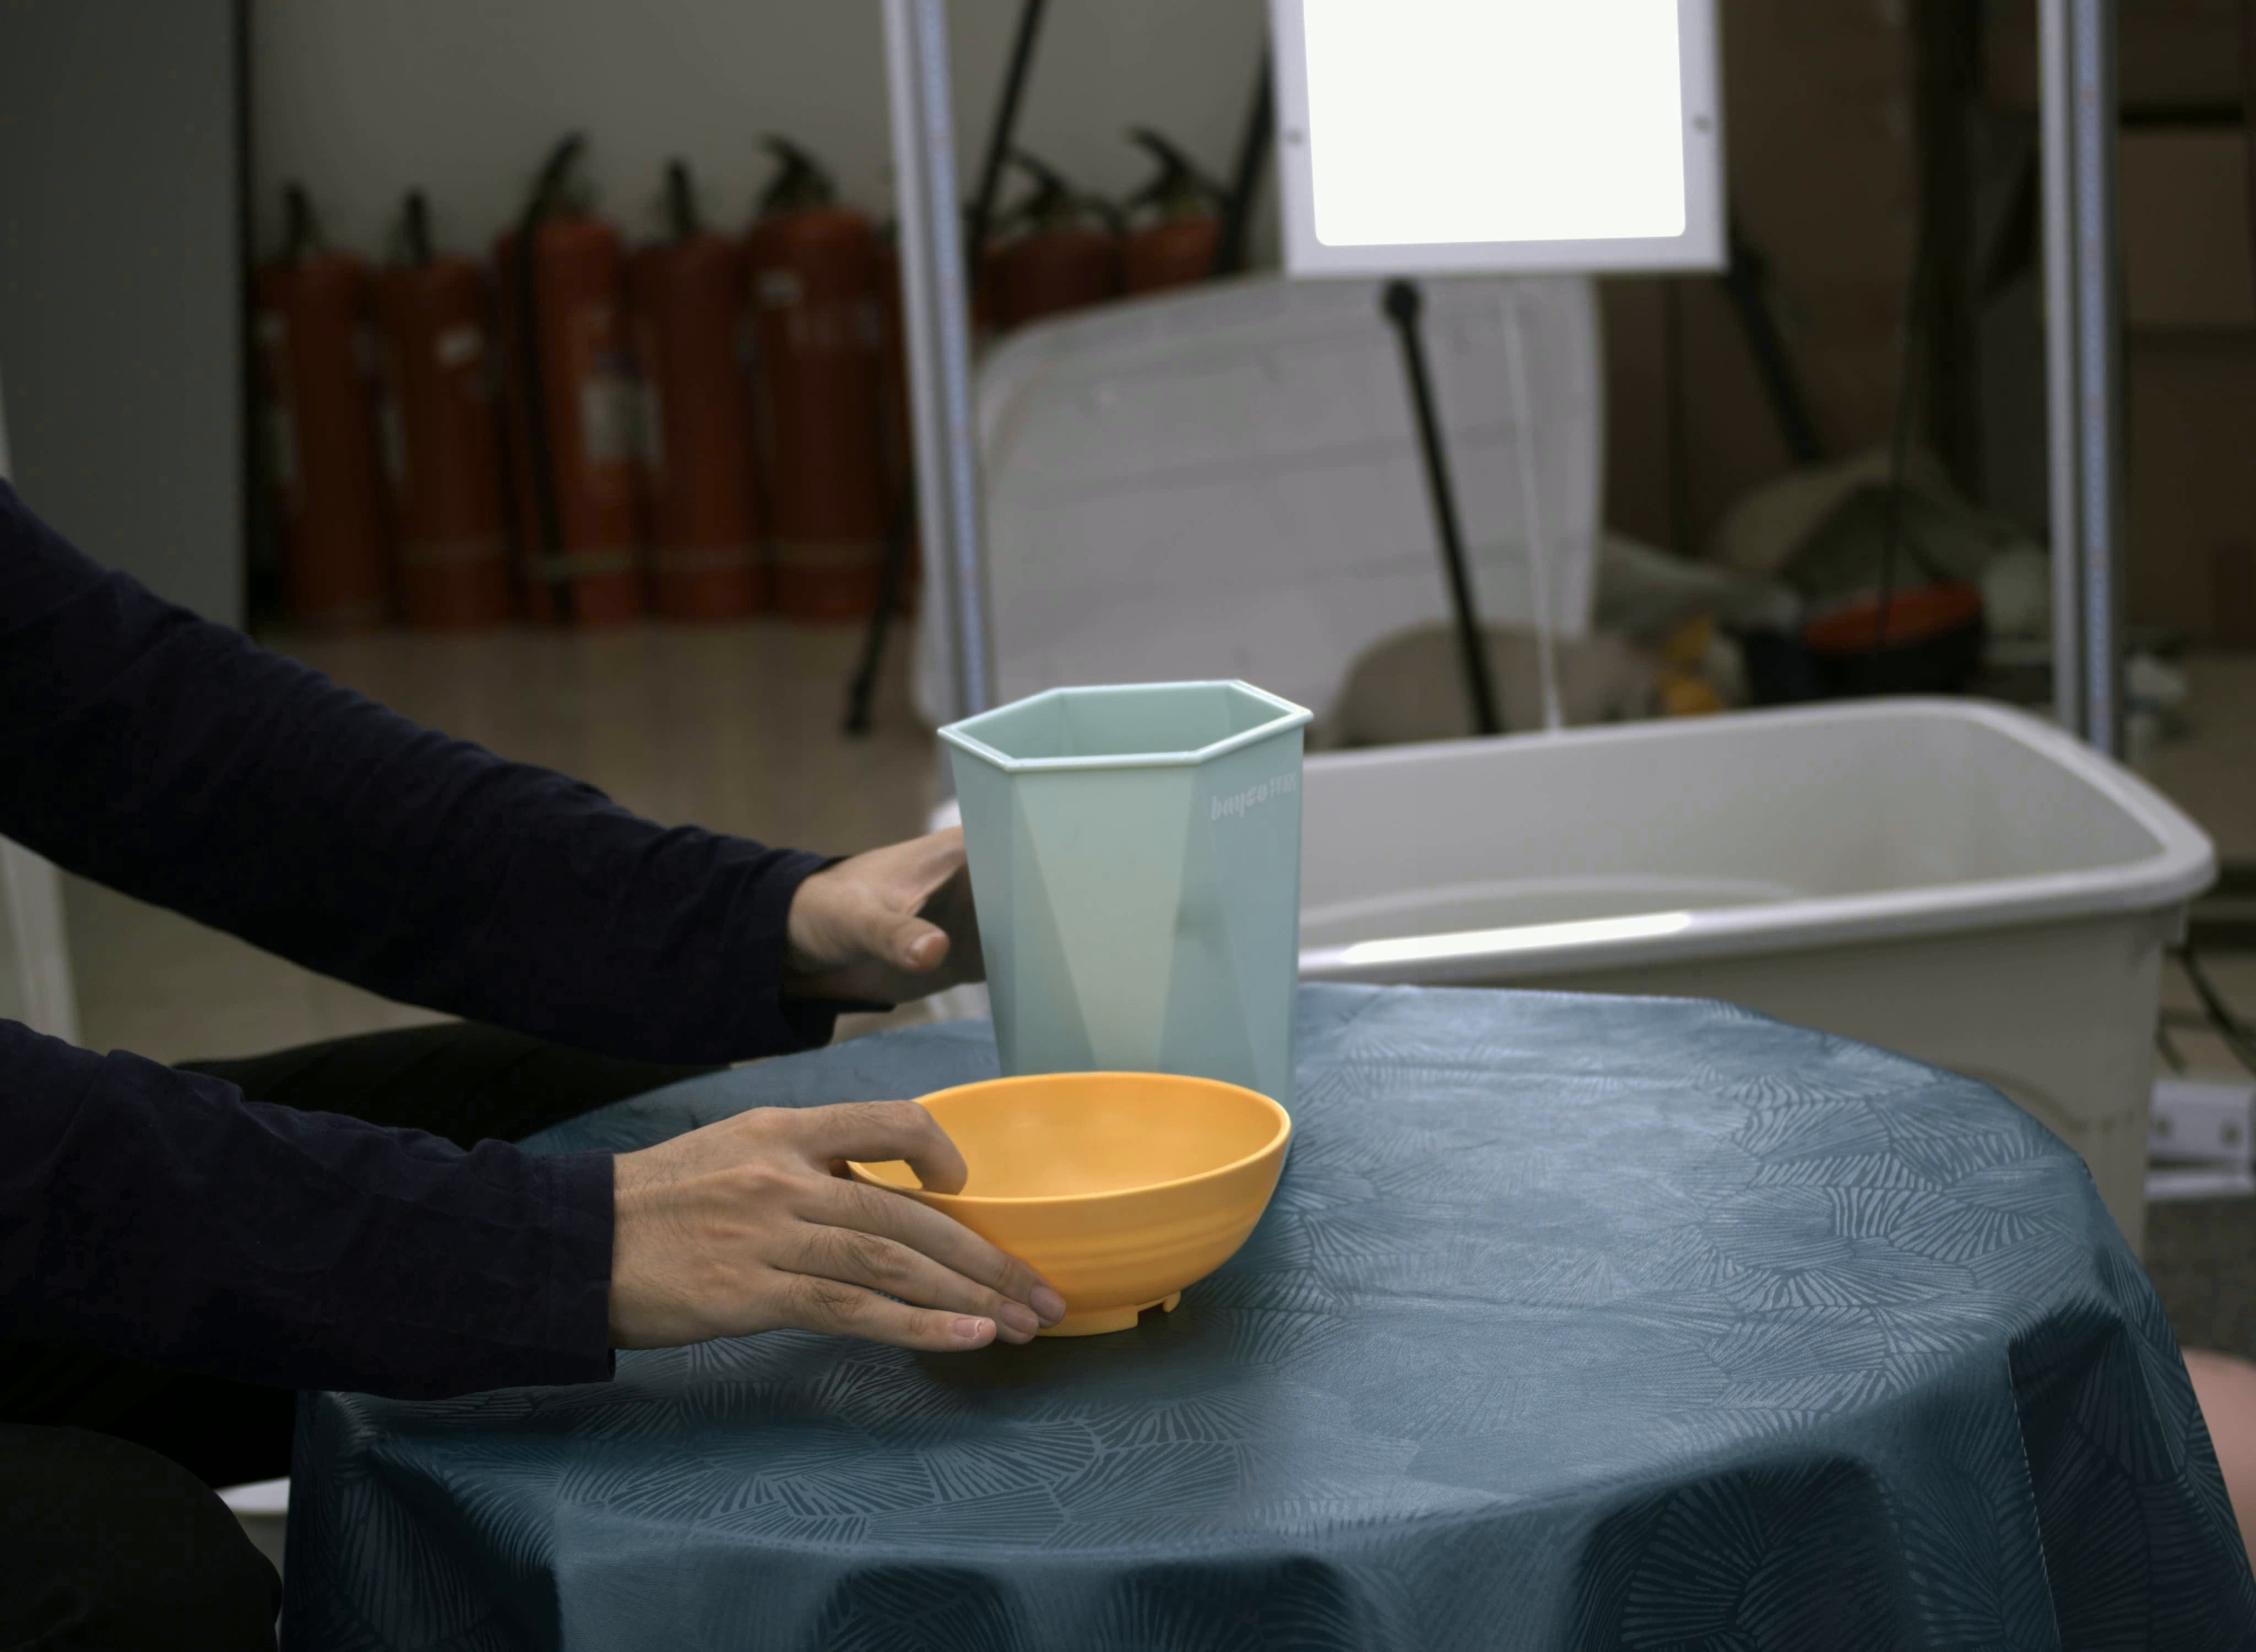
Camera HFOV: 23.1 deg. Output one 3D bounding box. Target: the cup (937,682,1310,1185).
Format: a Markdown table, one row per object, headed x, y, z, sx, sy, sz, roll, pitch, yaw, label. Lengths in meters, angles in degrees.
| x | y | z | sx | sy | sz | roll | pitch | yaw | label |
| --- | --- | --- | --- | --- | --- | --- | --- | --- | --- |
| 0.006 | 0.040 | 1.907 | 0.117 | 0.163 | 0.128 | 3 | 14 | 37 | cup |

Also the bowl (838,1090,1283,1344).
| x | y | z | sx | sy | sz | roll | pitch | yaw | label |
| --- | --- | --- | --- | --- | --- | --- | --- | --- | --- |
| -0.020 | 0.130 | 1.778 | 0.145 | 0.060 | 0.145 | -5 | 11 | 0 | bowl |
